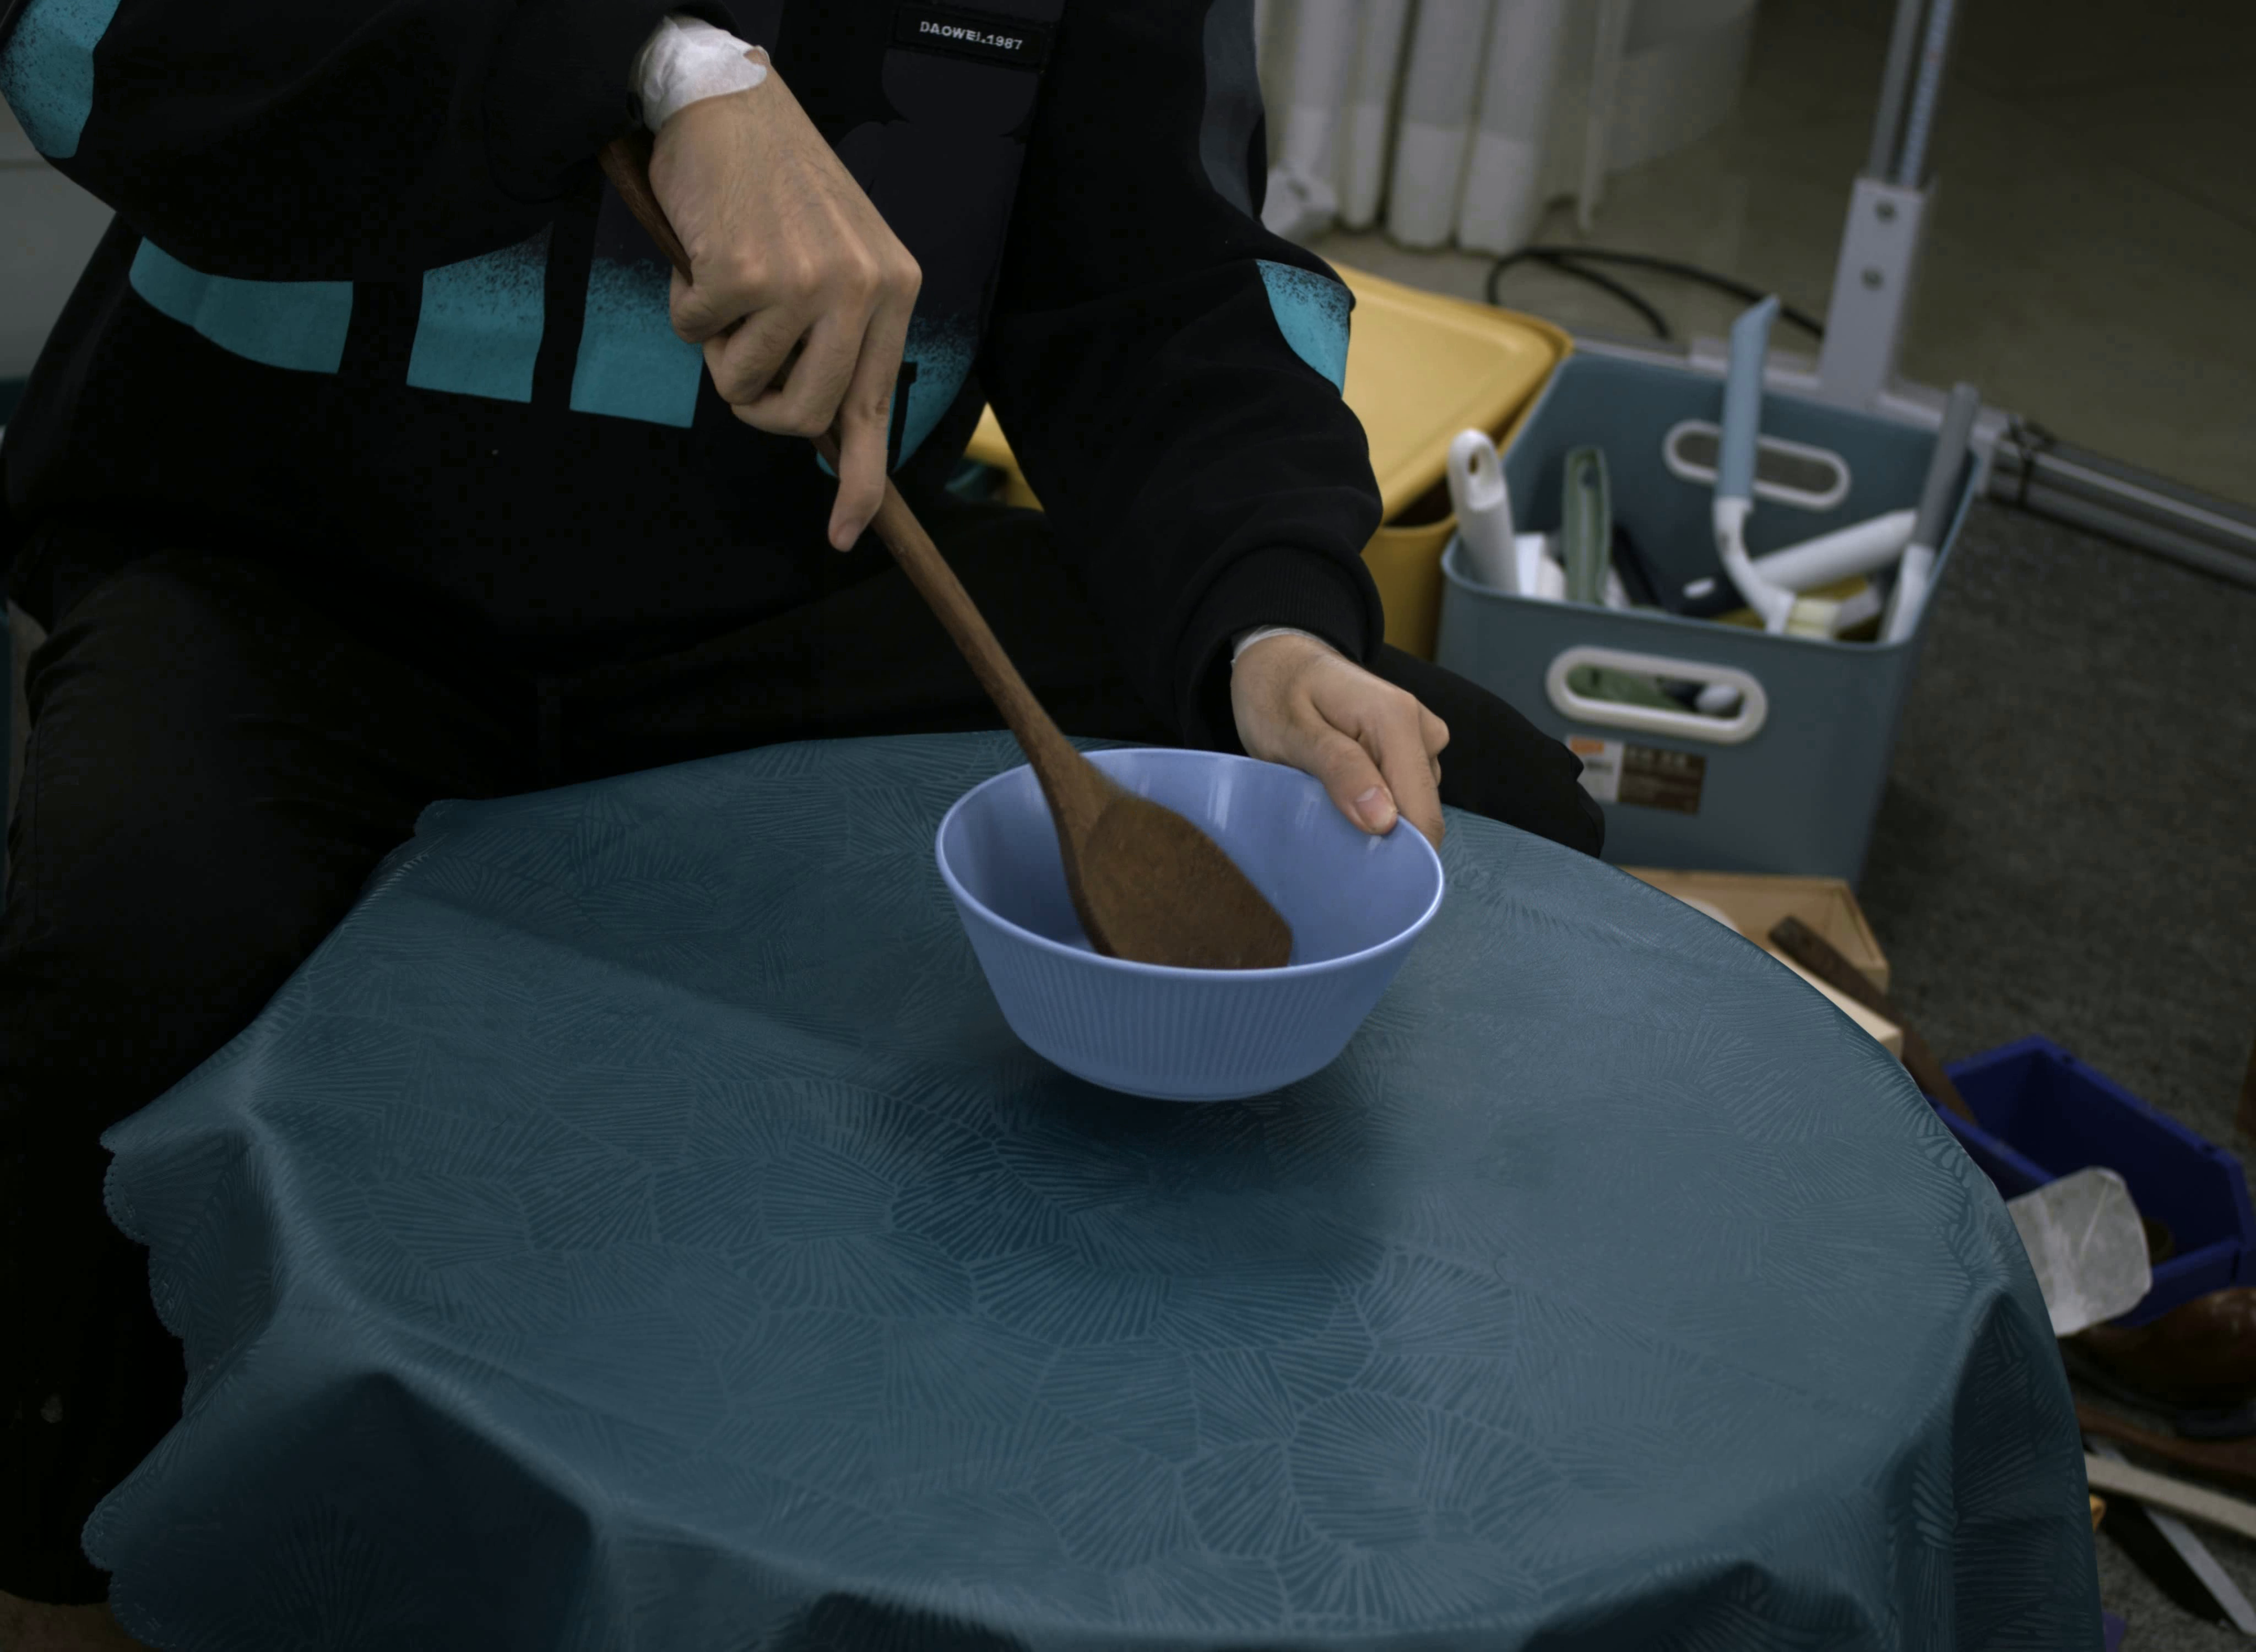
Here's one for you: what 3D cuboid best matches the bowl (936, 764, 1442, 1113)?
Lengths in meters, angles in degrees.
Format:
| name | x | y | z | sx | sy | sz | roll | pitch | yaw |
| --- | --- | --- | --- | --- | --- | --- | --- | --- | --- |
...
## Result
| name | x | y | z | sx | sy | sz | roll | pitch | yaw |
| --- | --- | --- | --- | --- | --- | --- | --- | --- | --- |
| bowl | 0.021 | 0.044 | 1.843 | 0.175 | 0.070 | 0.177 | -1 | 26 | 0 |

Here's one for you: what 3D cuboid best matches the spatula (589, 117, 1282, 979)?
| name | x | y | z | sx | sy | sz | roll | pitch | yaw |
| --- | --- | --- | --- | --- | --- | --- | --- | --- | --- |
| spatula | -0.068 | -0.085 | 1.830 | 0.016 | 0.385 | 0.096 | -31 | 7 | 33 |
